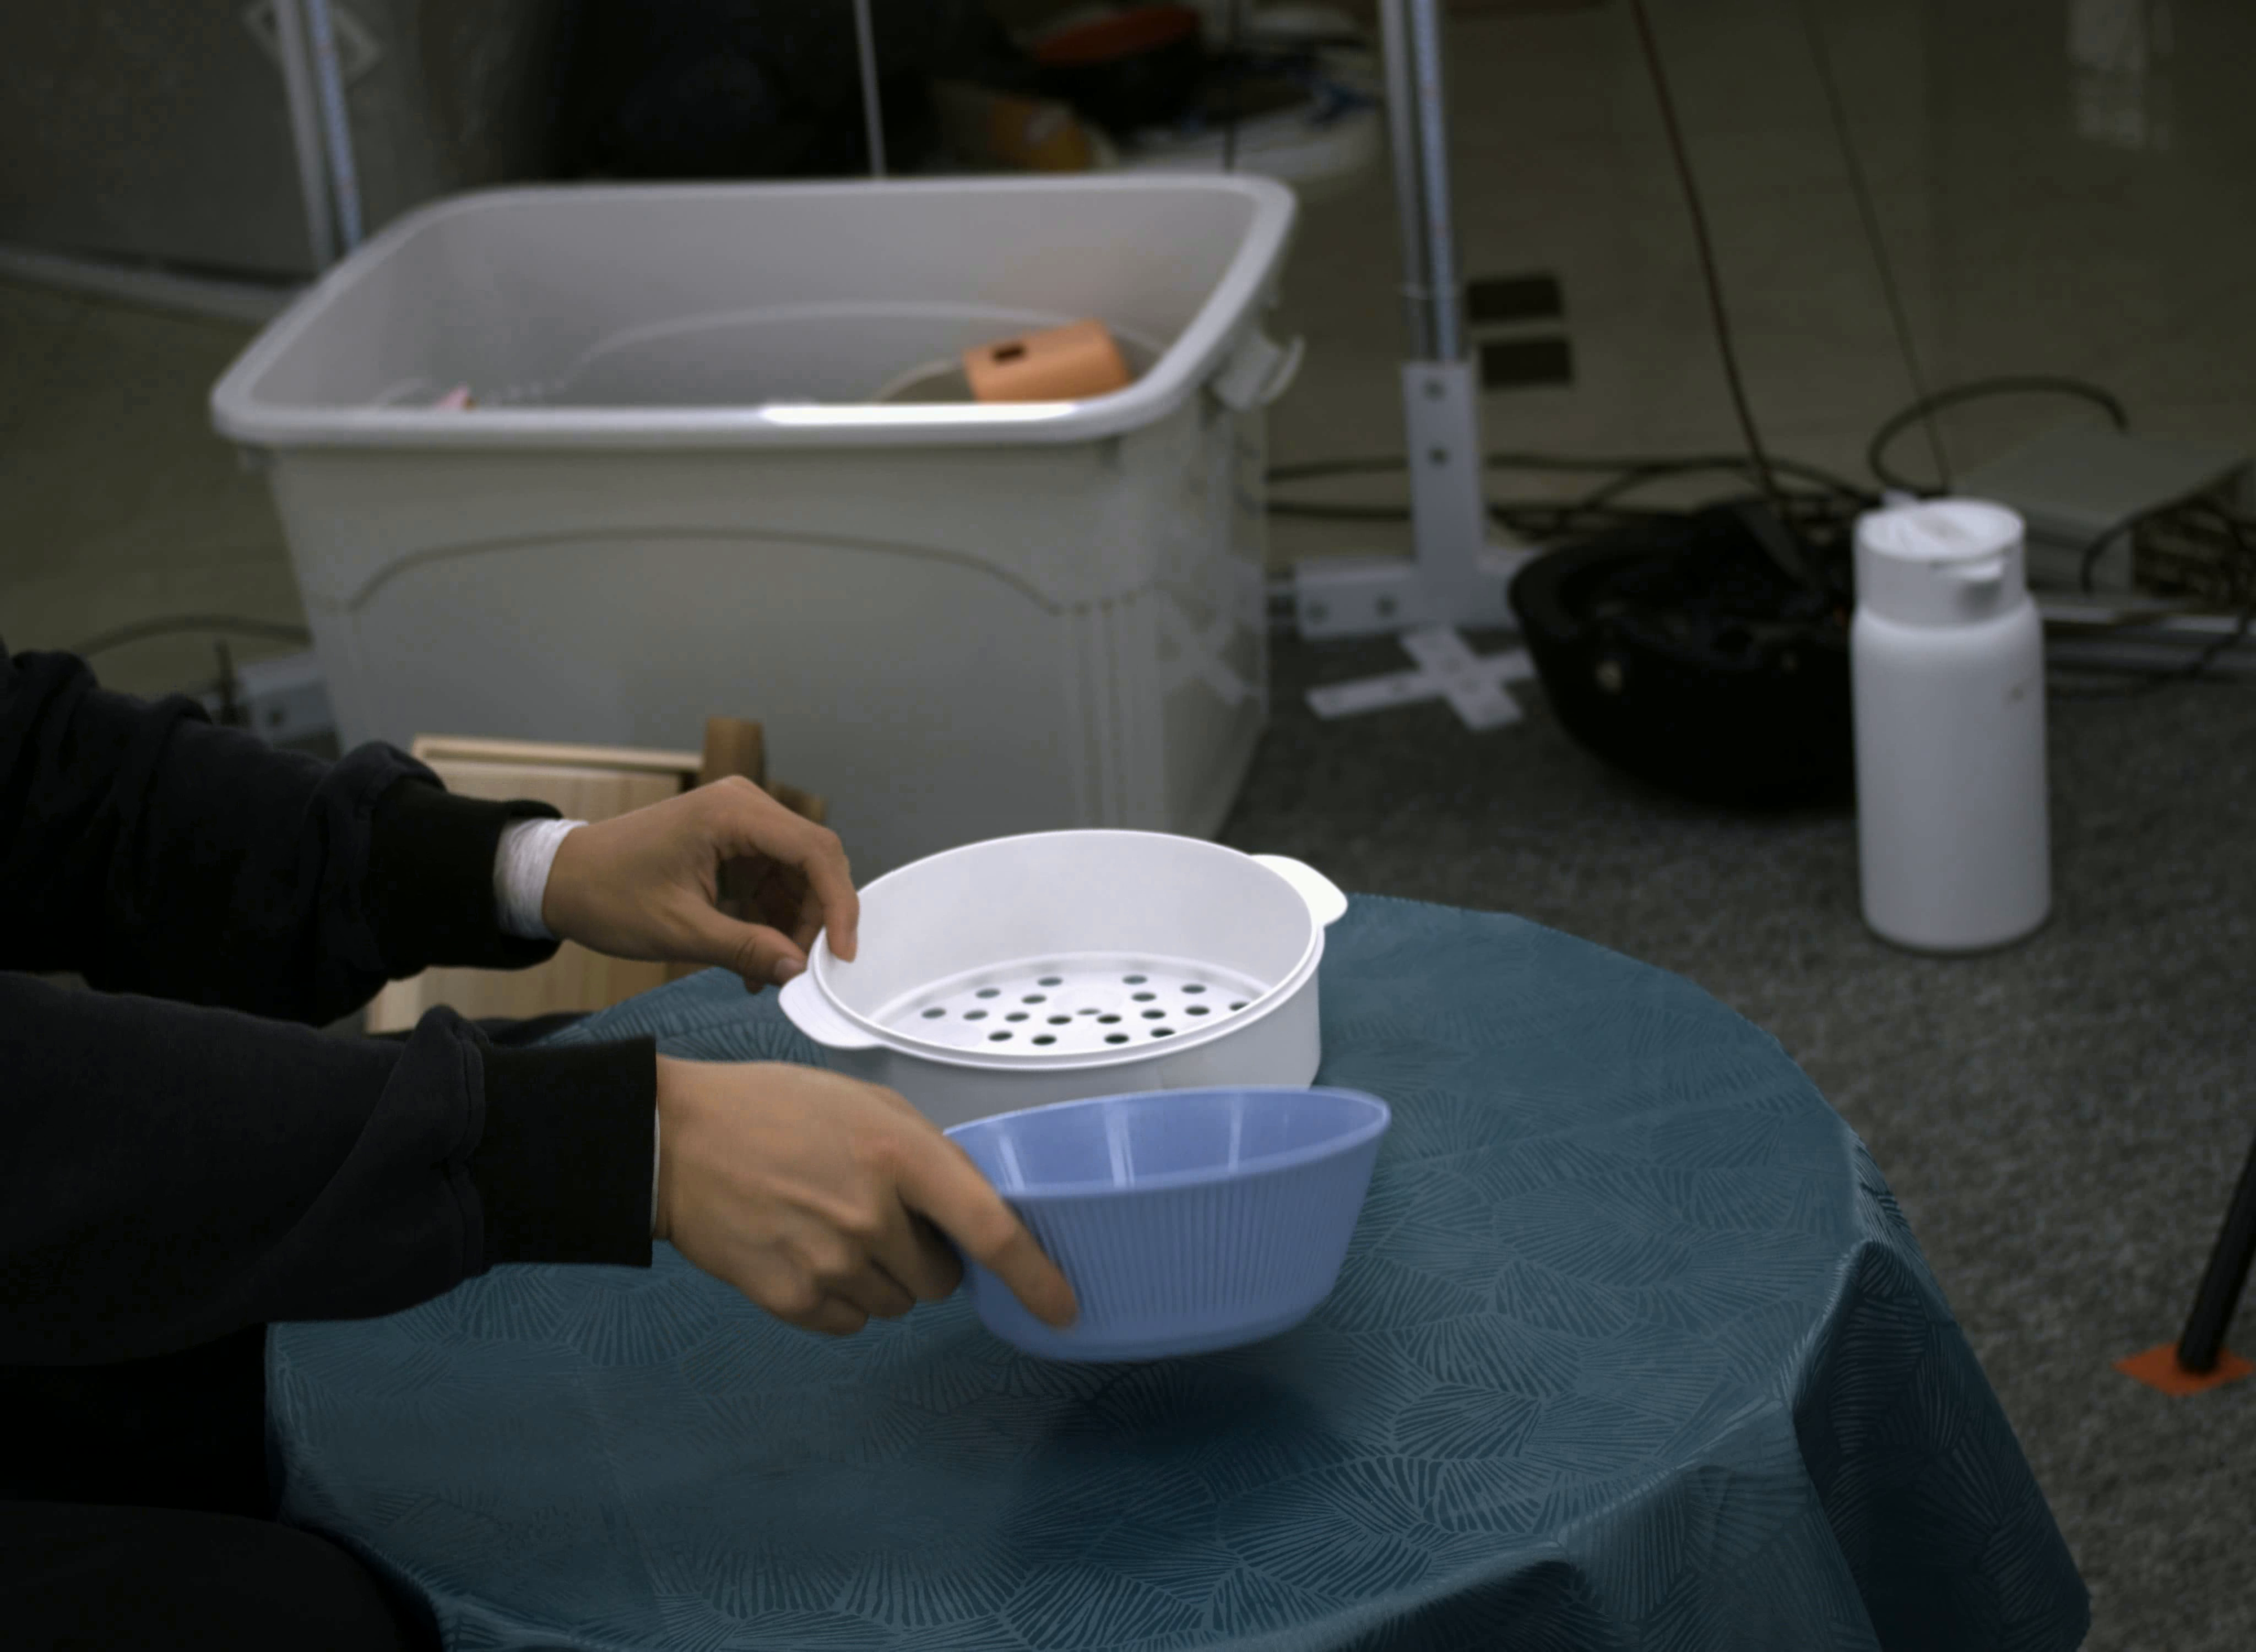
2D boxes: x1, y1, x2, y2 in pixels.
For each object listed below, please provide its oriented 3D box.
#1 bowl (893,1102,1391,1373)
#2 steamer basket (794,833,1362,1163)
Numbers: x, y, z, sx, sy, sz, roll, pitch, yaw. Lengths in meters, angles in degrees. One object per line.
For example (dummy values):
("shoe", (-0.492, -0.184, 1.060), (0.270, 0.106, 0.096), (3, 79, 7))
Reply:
("bowl", (0.008, 0.146, 1.989), (0.176, 0.071, 0.175), (-5, 7, 1))
("steamer basket", (-0.017, 0.072, 2.213), (0.229, 0.070, 0.199), (-13, 27, -23))
